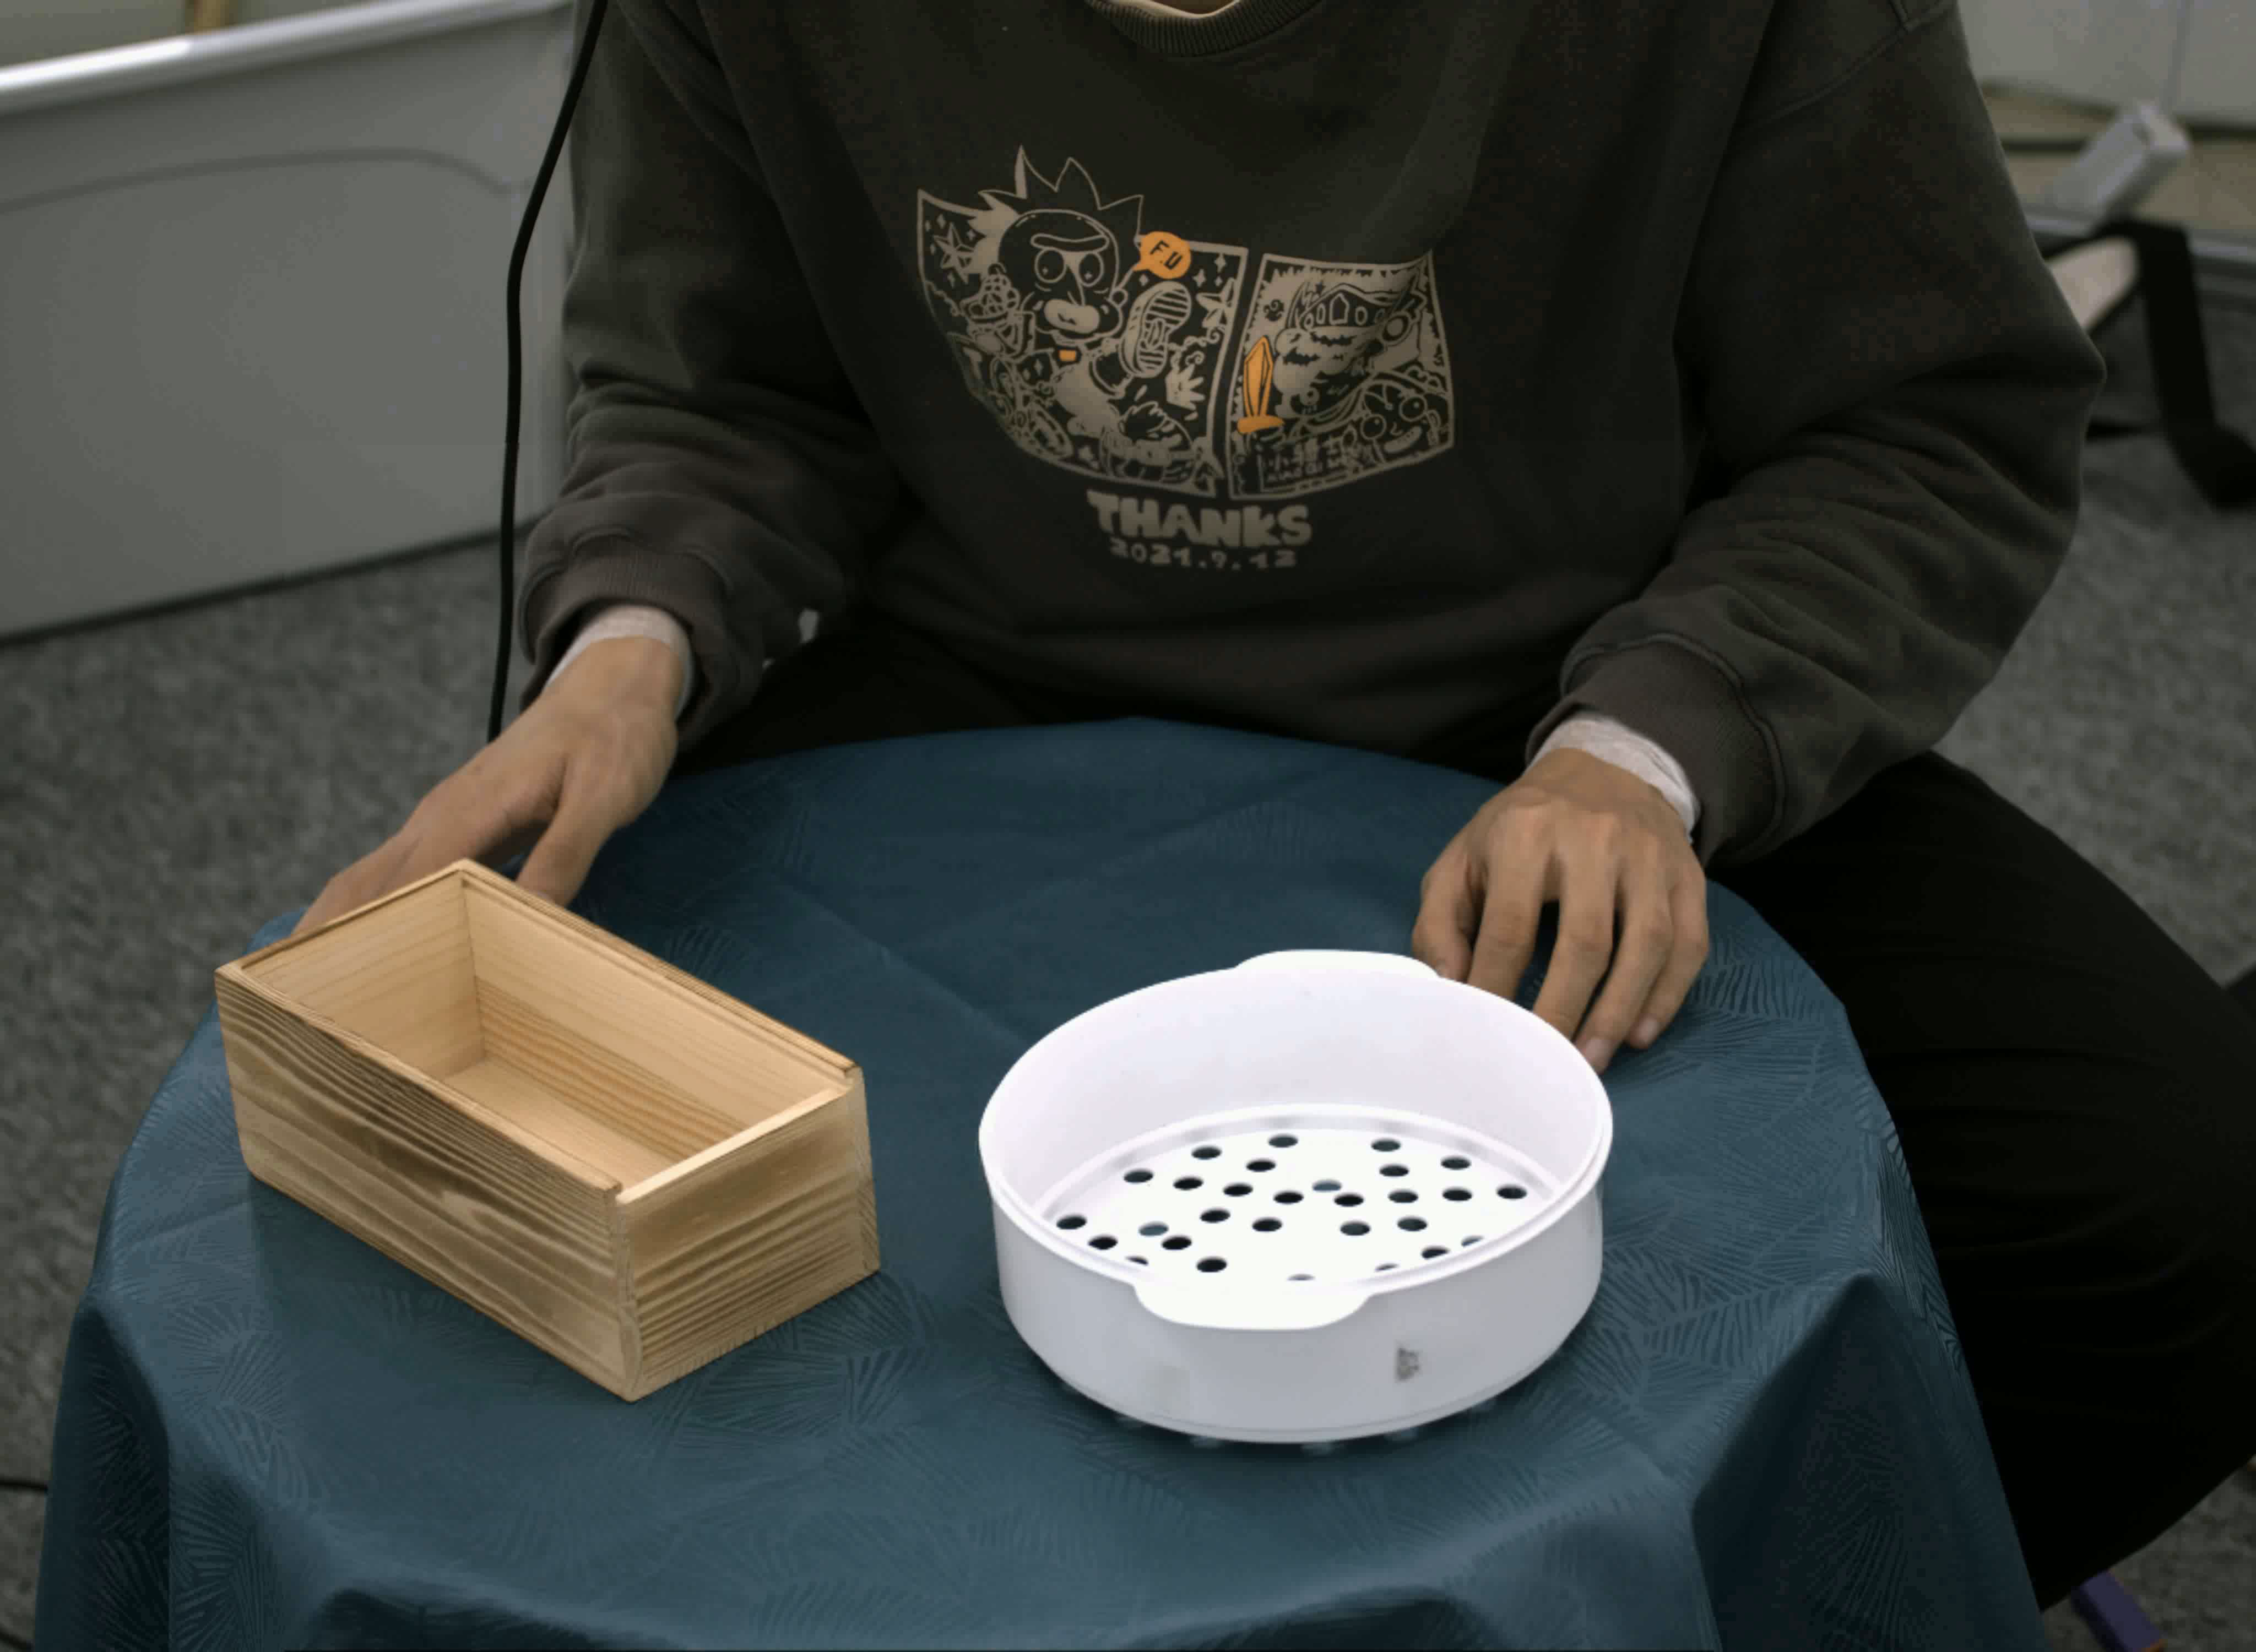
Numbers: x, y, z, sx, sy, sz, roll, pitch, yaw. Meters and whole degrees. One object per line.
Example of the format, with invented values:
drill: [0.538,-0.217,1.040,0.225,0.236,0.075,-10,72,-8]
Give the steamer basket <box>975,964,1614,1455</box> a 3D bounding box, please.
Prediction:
steamer basket: [0.053,0.123,1.781,0.200,0.068,0.234,3,27,9]

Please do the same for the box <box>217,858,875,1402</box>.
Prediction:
box: [-0.192,0.096,1.843,0.109,0.079,0.211,-25,35,-37]
